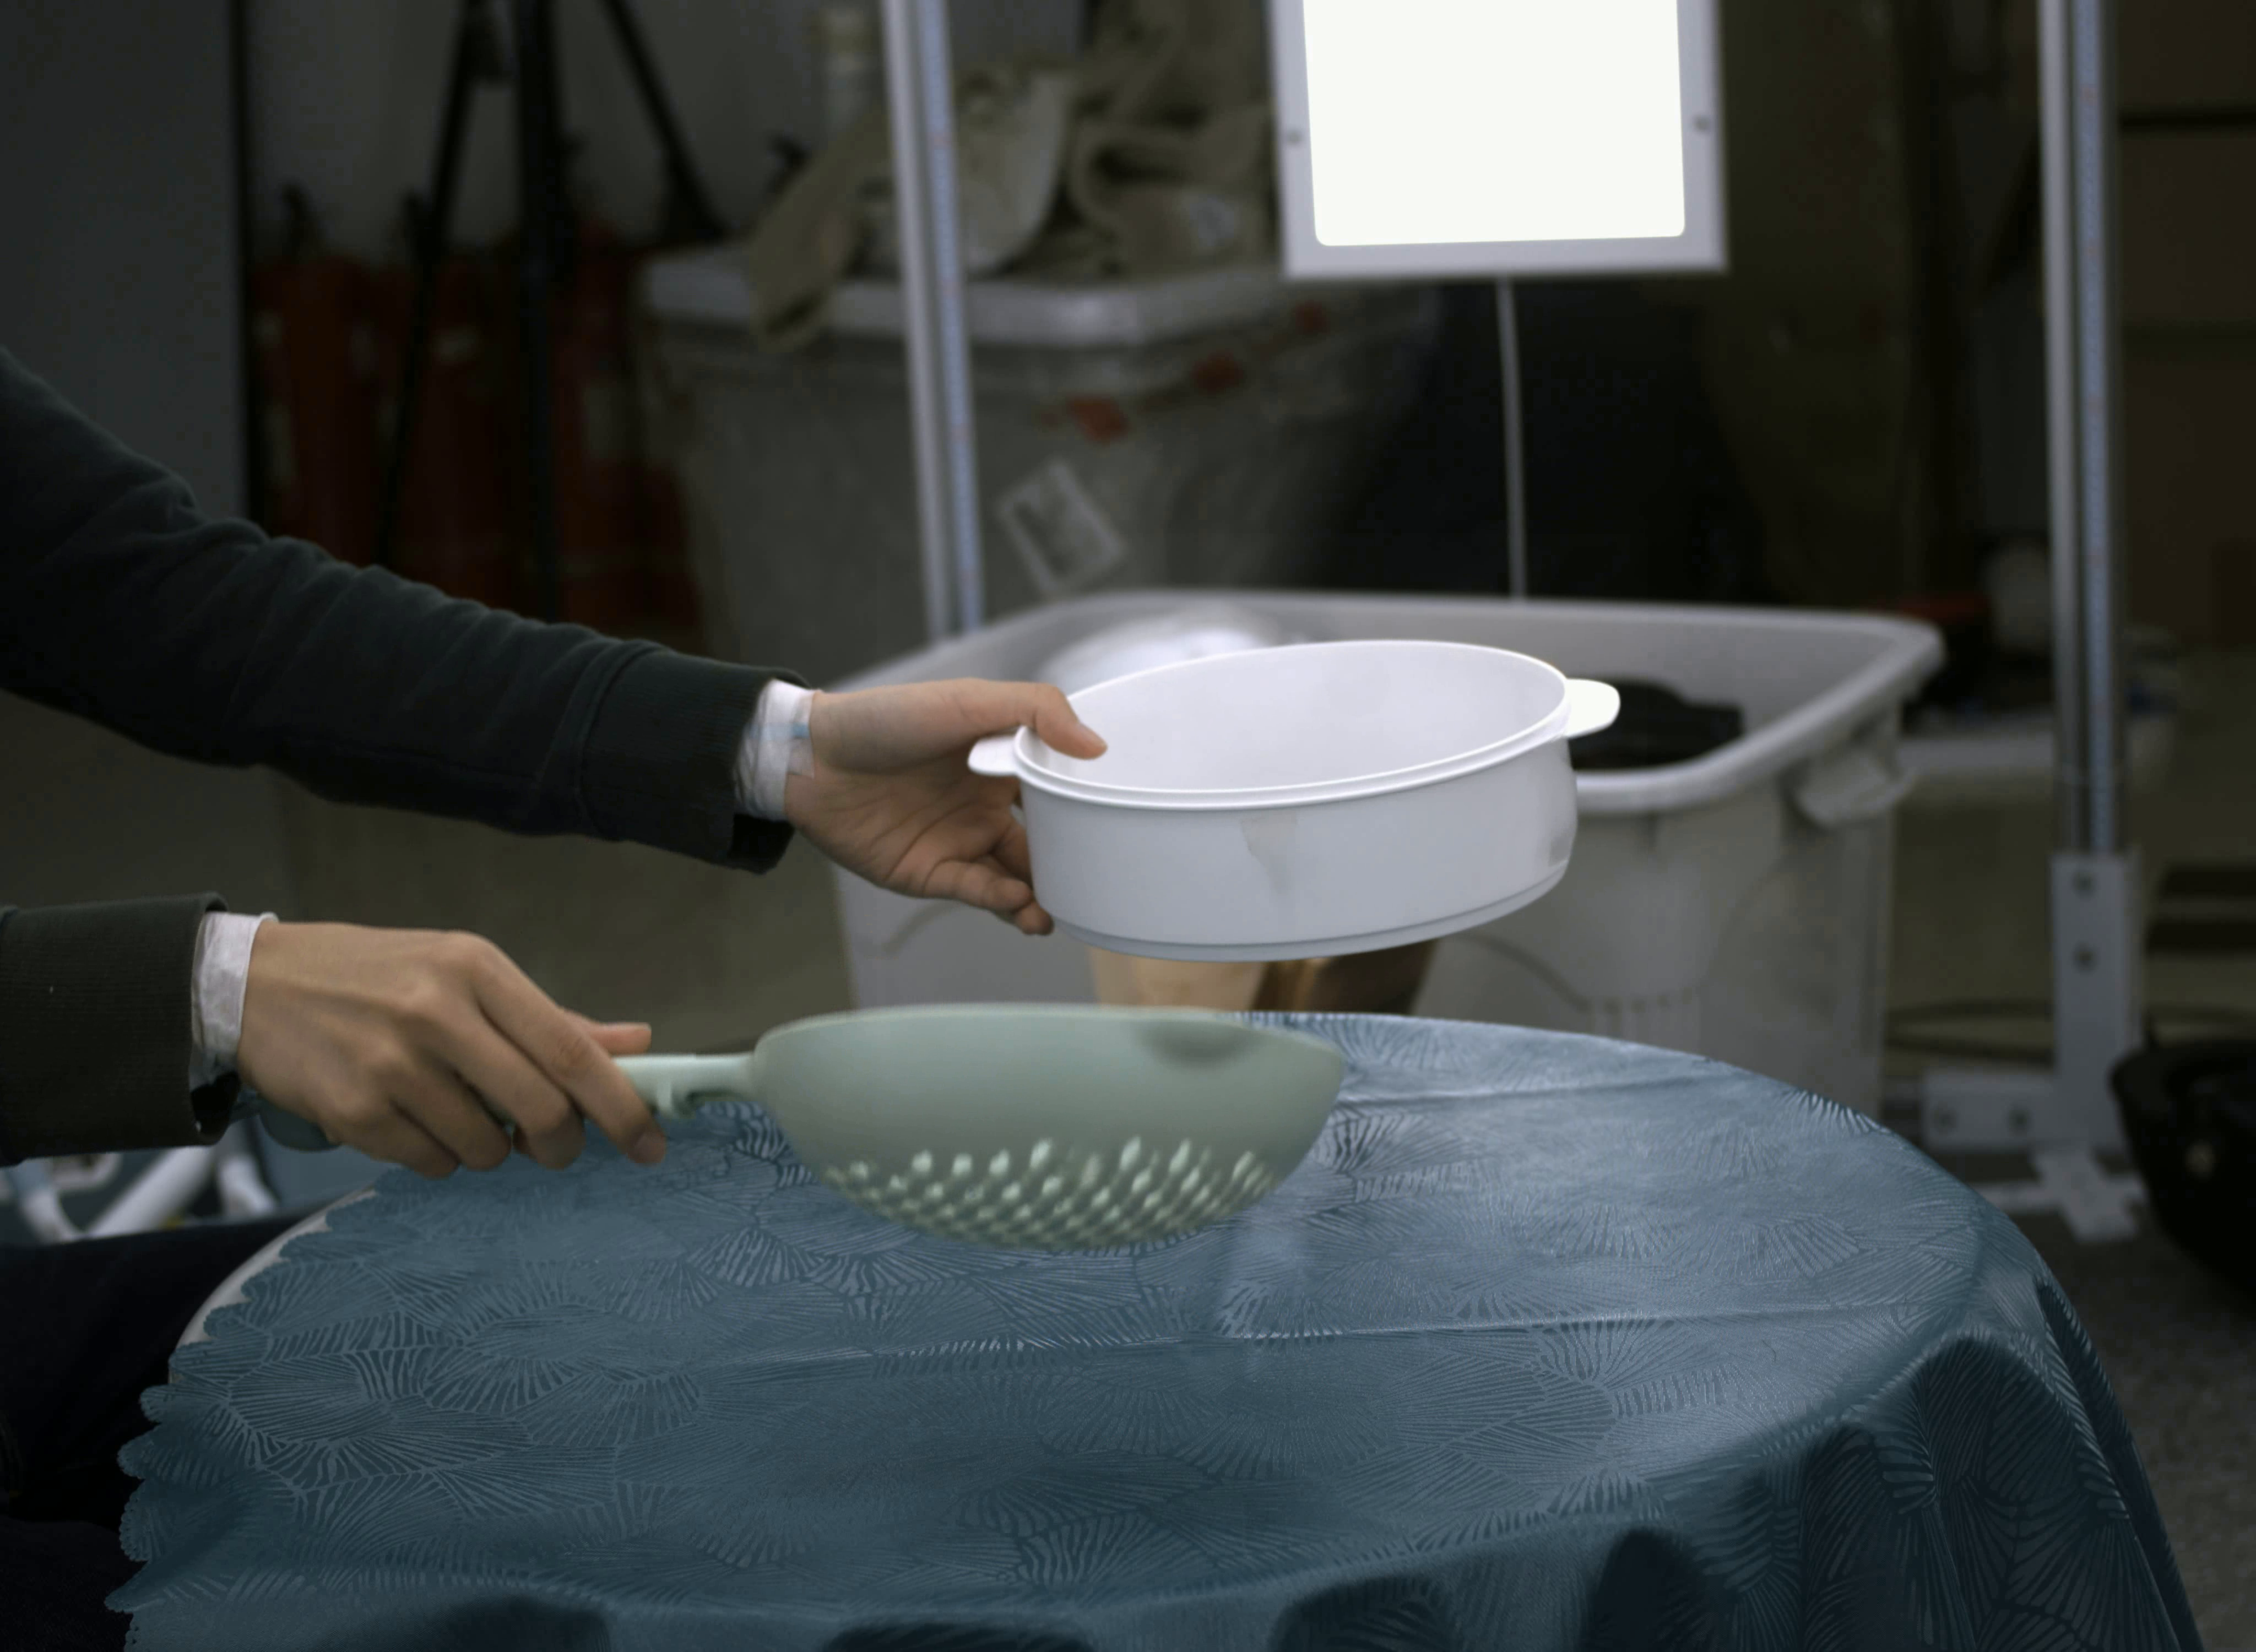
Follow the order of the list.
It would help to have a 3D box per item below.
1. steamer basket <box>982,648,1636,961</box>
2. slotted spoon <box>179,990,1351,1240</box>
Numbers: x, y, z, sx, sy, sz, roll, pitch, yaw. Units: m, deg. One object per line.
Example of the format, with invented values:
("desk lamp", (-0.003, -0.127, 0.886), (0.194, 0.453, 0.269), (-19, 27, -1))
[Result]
("steamer basket", (0.066, -0.008, 1.929), (0.232, 0.069, 0.200), (-4, 15, 9))
("slotted spoon", (-0.113, 0.078, 1.619), (0.363, 0.075, 0.167), (5, -10, 20))
